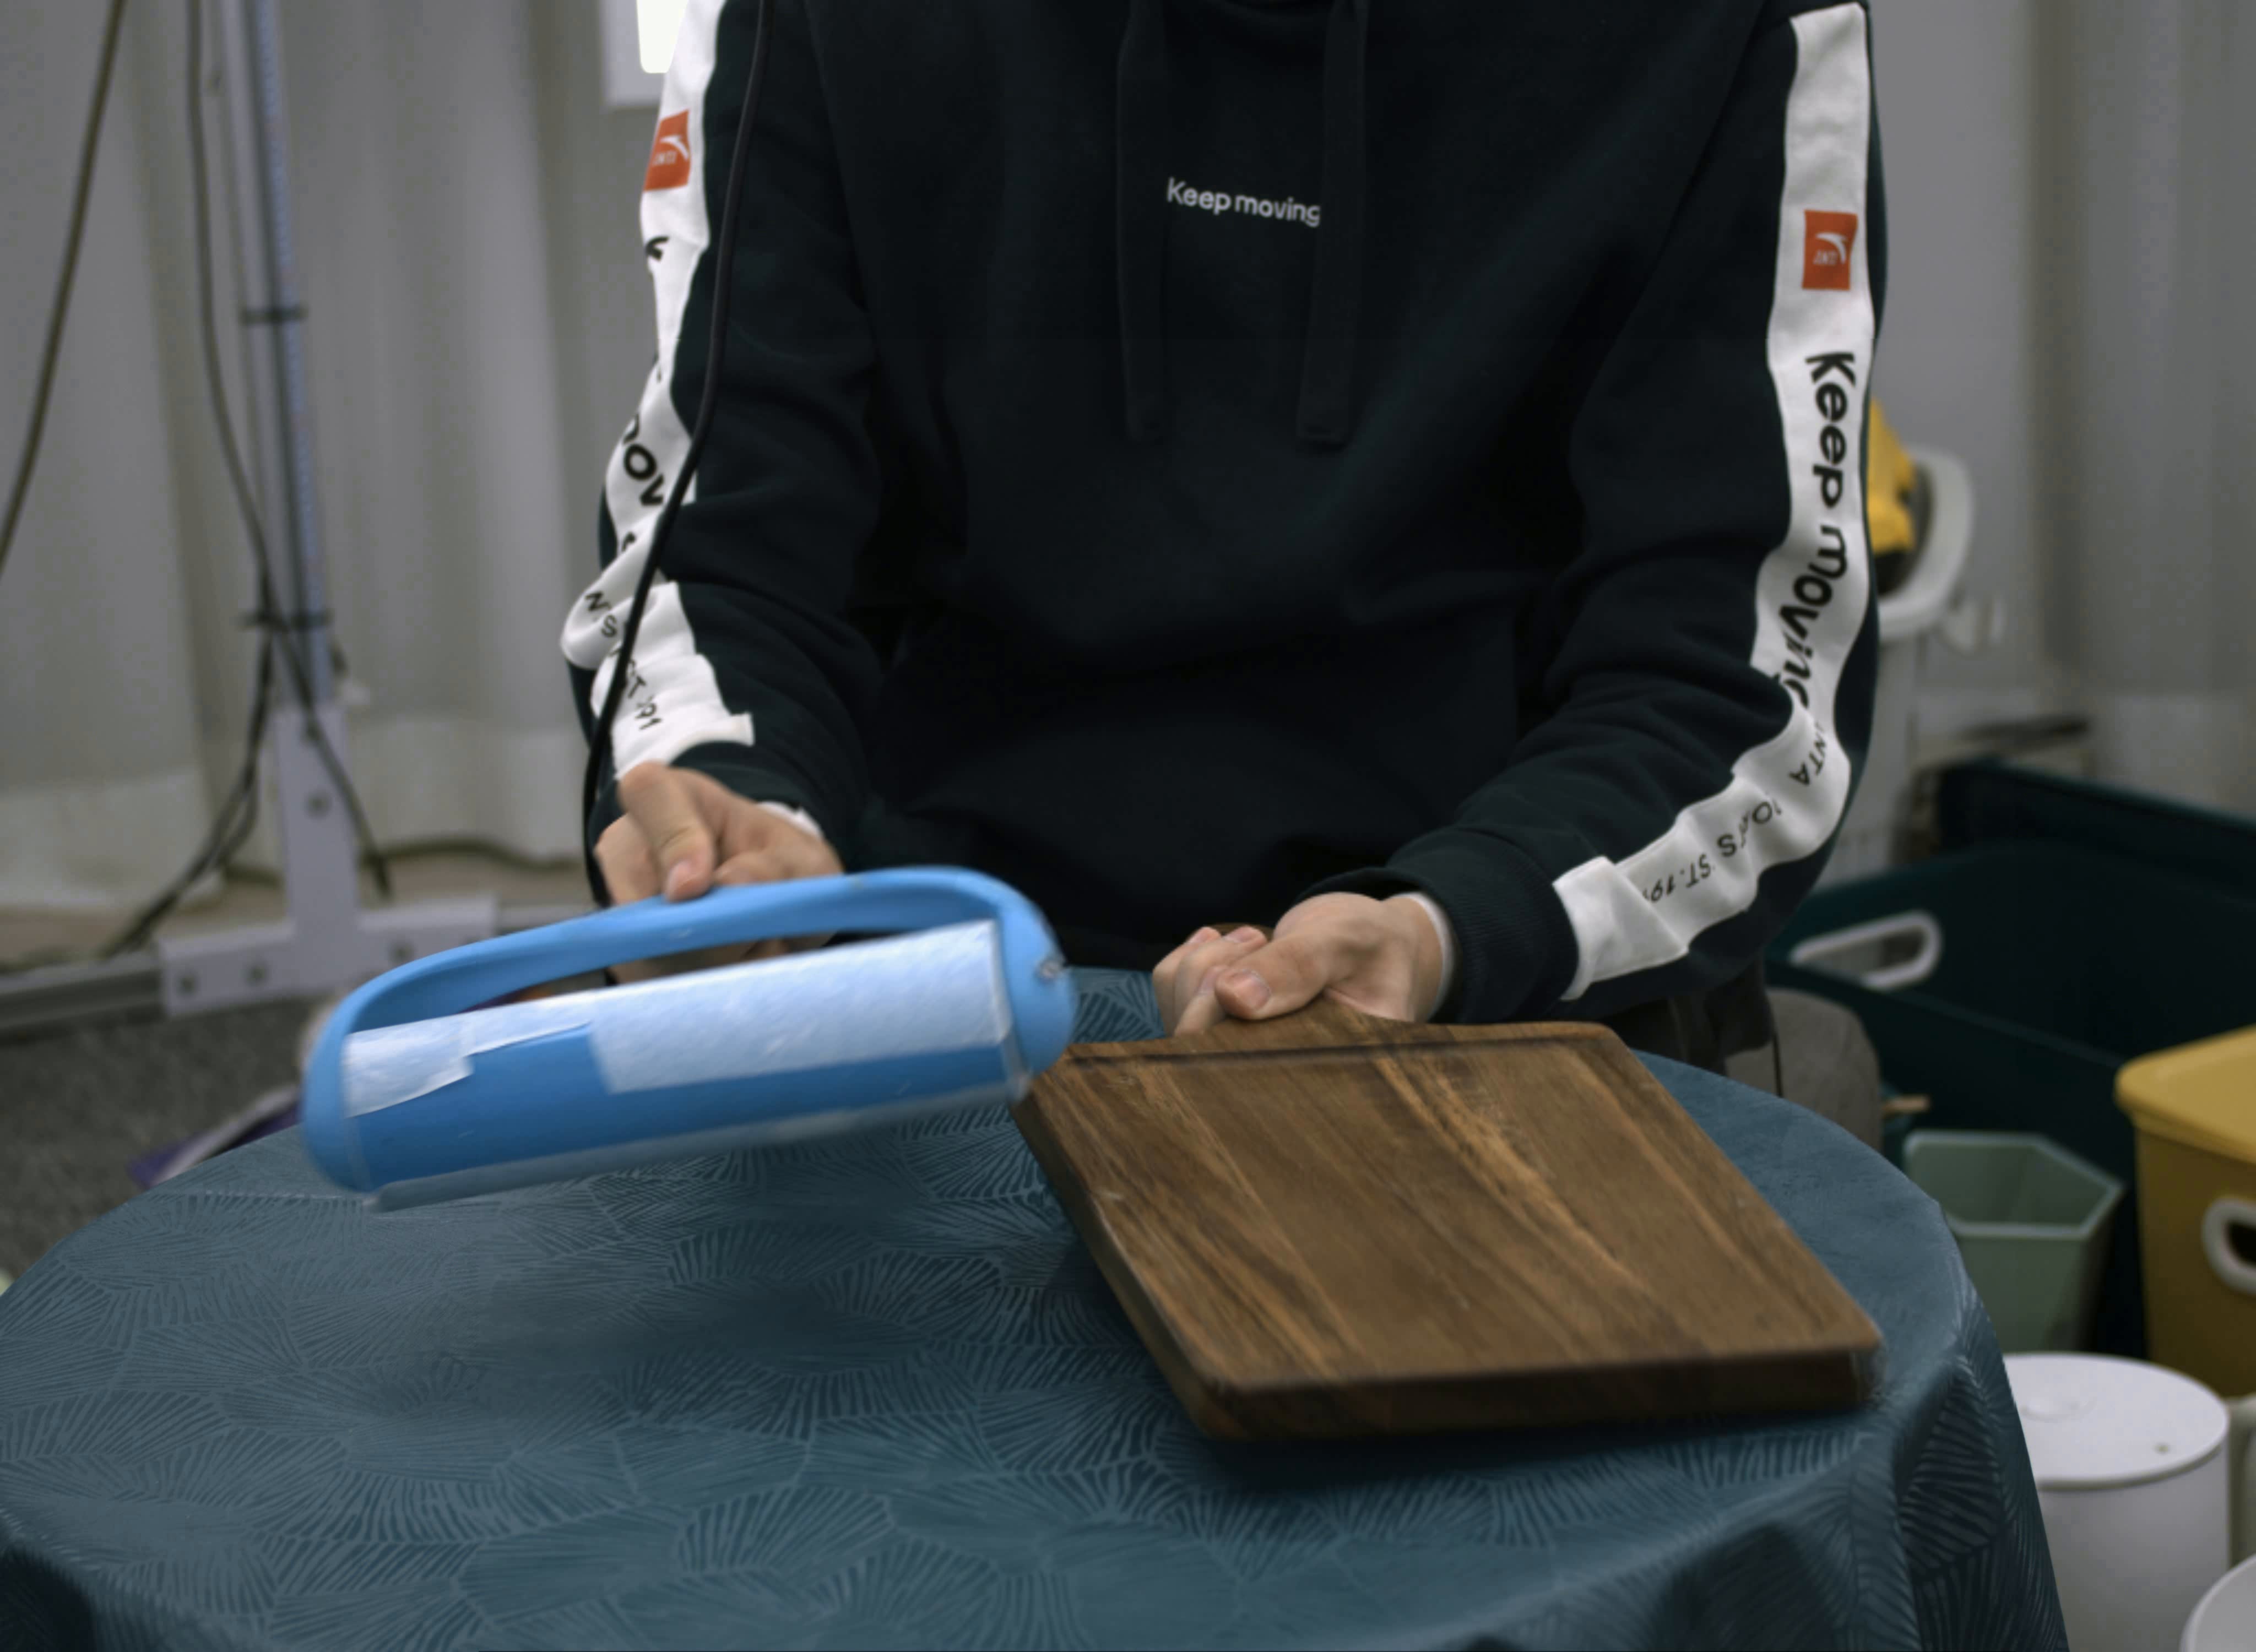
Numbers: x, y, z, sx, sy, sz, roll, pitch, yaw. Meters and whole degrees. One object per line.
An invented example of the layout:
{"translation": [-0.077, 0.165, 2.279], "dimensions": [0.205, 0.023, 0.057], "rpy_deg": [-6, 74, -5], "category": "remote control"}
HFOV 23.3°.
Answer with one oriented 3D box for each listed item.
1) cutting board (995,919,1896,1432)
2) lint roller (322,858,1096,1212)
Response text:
{"translation": [0.073, 0.095, 1.629], "dimensions": [0.200, 0.023, 0.355], "rpy_deg": [-2, 18, -15], "category": "cutting board"}
{"translation": [-0.126, 0.049, 1.644], "dimensions": [0.228, 0.067, 0.182], "rpy_deg": [-13, 17, 0], "category": "lint roller"}
